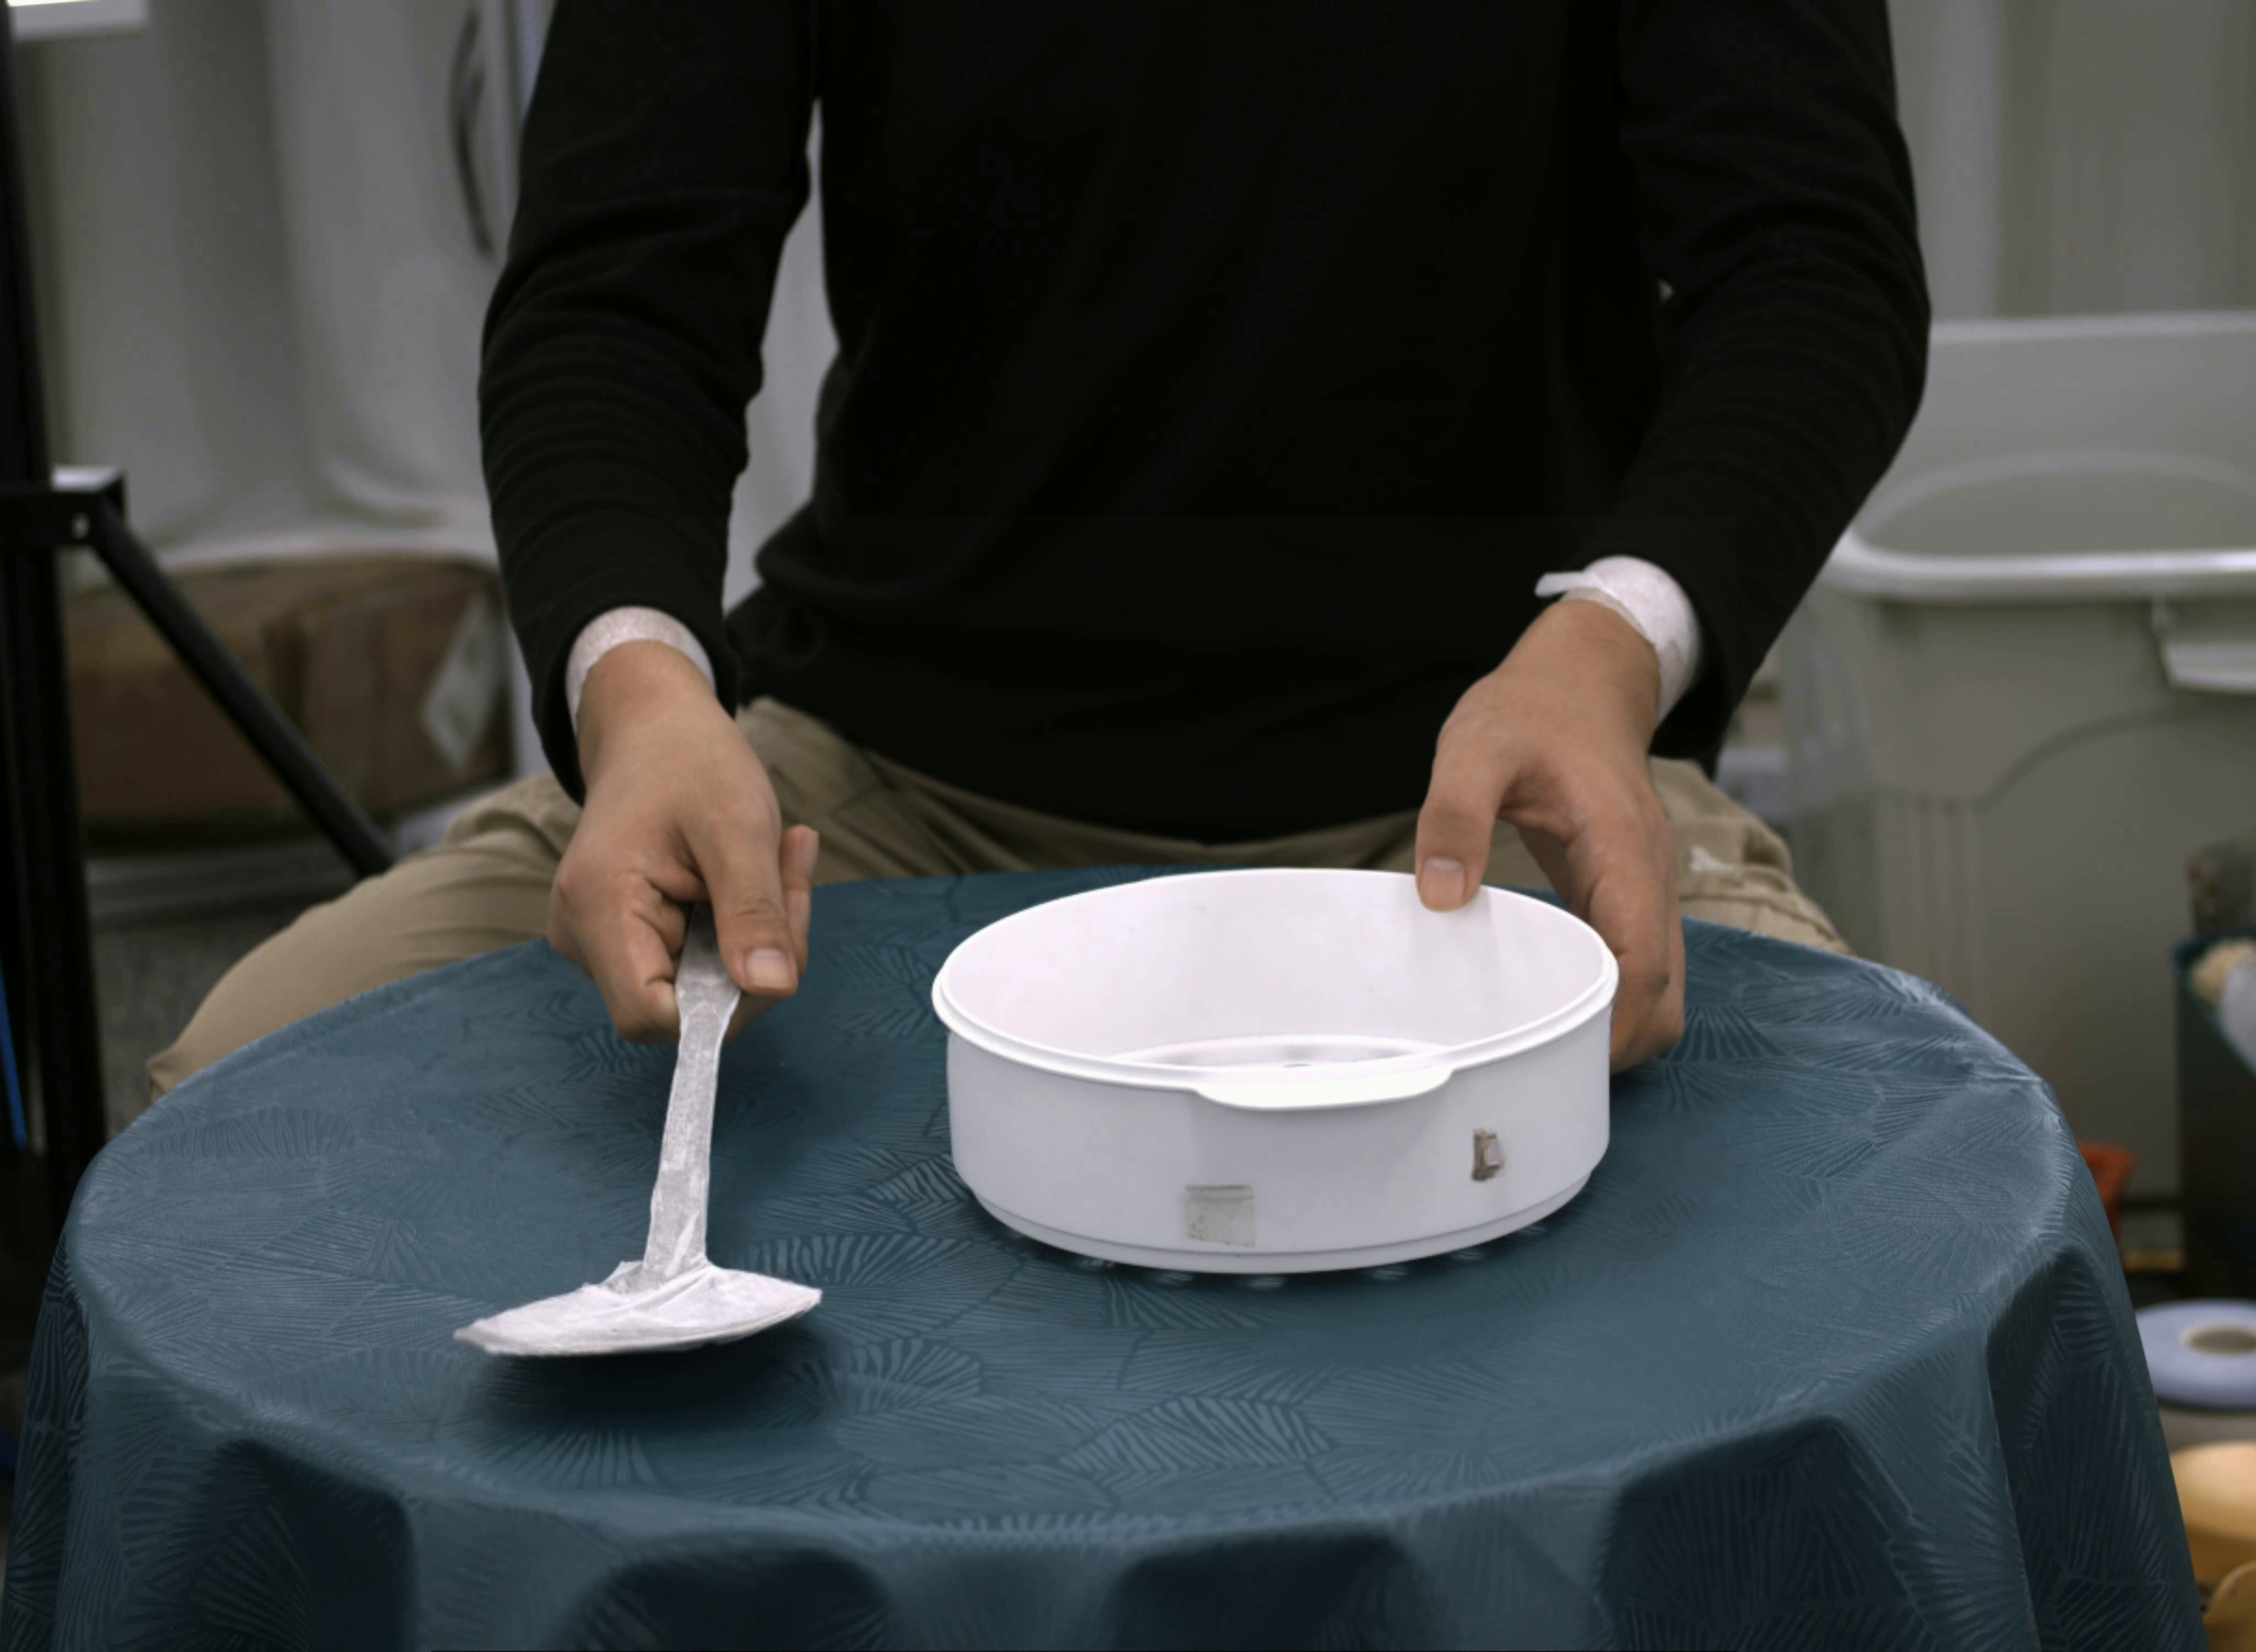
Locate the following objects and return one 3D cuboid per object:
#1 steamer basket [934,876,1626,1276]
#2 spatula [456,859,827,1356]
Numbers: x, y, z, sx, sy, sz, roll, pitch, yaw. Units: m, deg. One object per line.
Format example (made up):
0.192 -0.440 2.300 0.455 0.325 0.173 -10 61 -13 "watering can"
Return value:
0.045 0.072 1.548 0.200 0.069 0.232 -3 15 -4 "steamer basket"
-0.124 0.074 1.561 0.098 0.044 0.367 -7 26 5 "spatula"
